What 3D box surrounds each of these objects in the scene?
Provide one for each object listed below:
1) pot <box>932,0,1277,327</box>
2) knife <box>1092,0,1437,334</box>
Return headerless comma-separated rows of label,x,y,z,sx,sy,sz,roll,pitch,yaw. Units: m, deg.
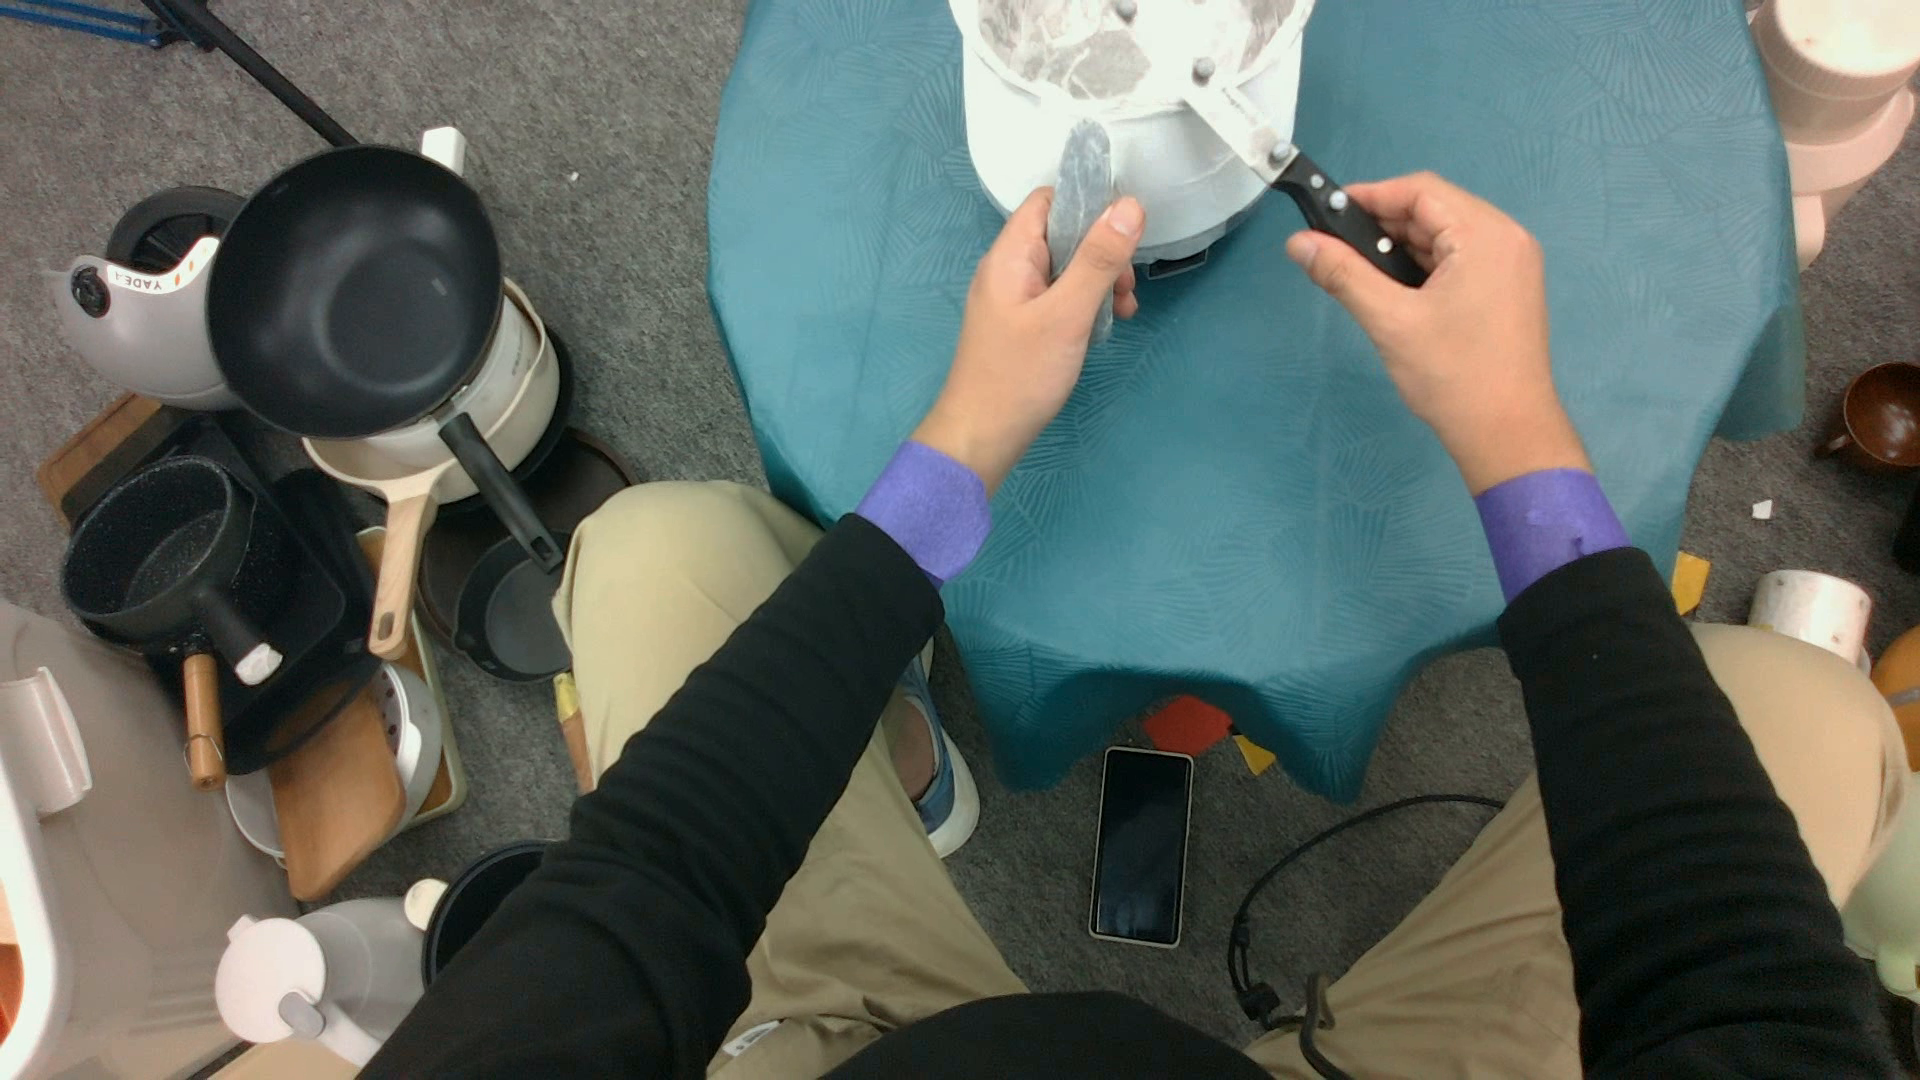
pot,0.070,-0.231,0.708,0.178,0.136,0.234,9,64,10
knife,0.135,-0.183,0.630,0.238,0.016,0.024,43,78,-7
